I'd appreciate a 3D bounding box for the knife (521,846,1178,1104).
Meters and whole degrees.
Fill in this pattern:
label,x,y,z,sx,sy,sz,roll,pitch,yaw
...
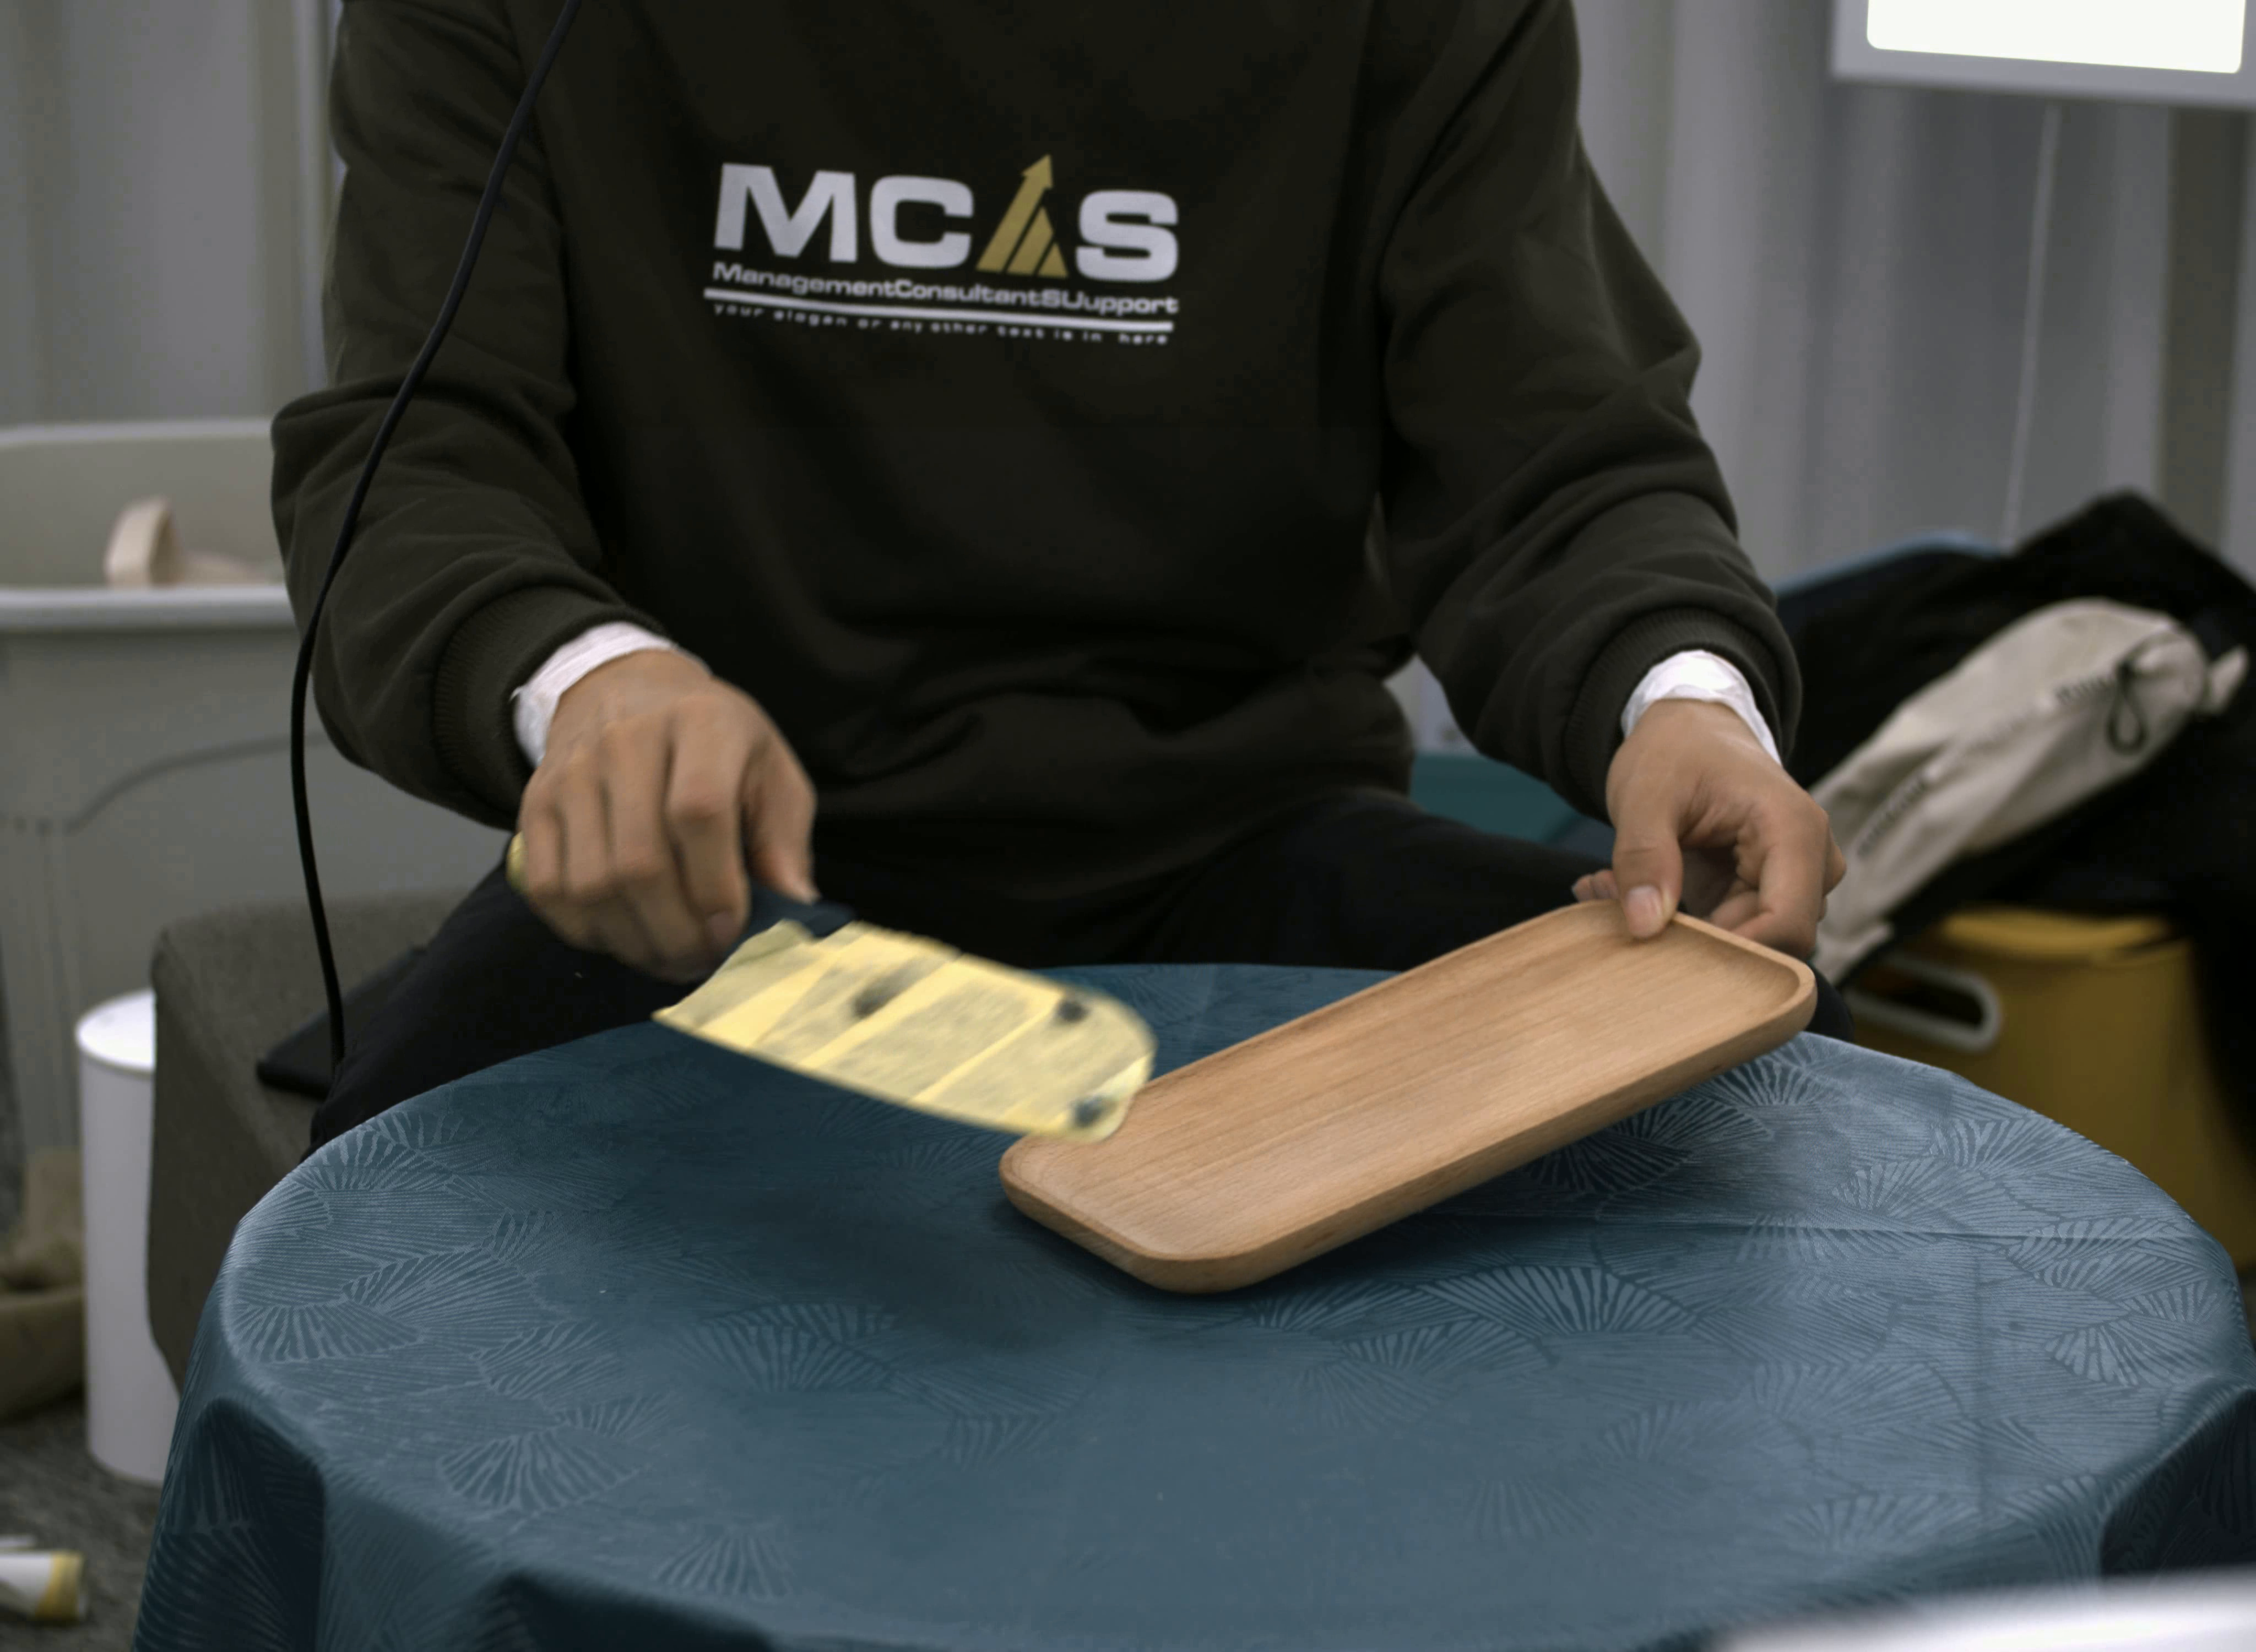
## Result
label,x,y,z,sx,sy,sz,roll,pitch,yaw
knife,-0.094,0.045,1.577,0.285,0.027,0.081,15,34,42

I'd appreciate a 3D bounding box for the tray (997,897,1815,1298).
label,x,y,z,sx,sy,sz,roll,pitch,yaw
tray,0.087,0.081,1.619,0.251,0.023,0.129,-23,22,-26
